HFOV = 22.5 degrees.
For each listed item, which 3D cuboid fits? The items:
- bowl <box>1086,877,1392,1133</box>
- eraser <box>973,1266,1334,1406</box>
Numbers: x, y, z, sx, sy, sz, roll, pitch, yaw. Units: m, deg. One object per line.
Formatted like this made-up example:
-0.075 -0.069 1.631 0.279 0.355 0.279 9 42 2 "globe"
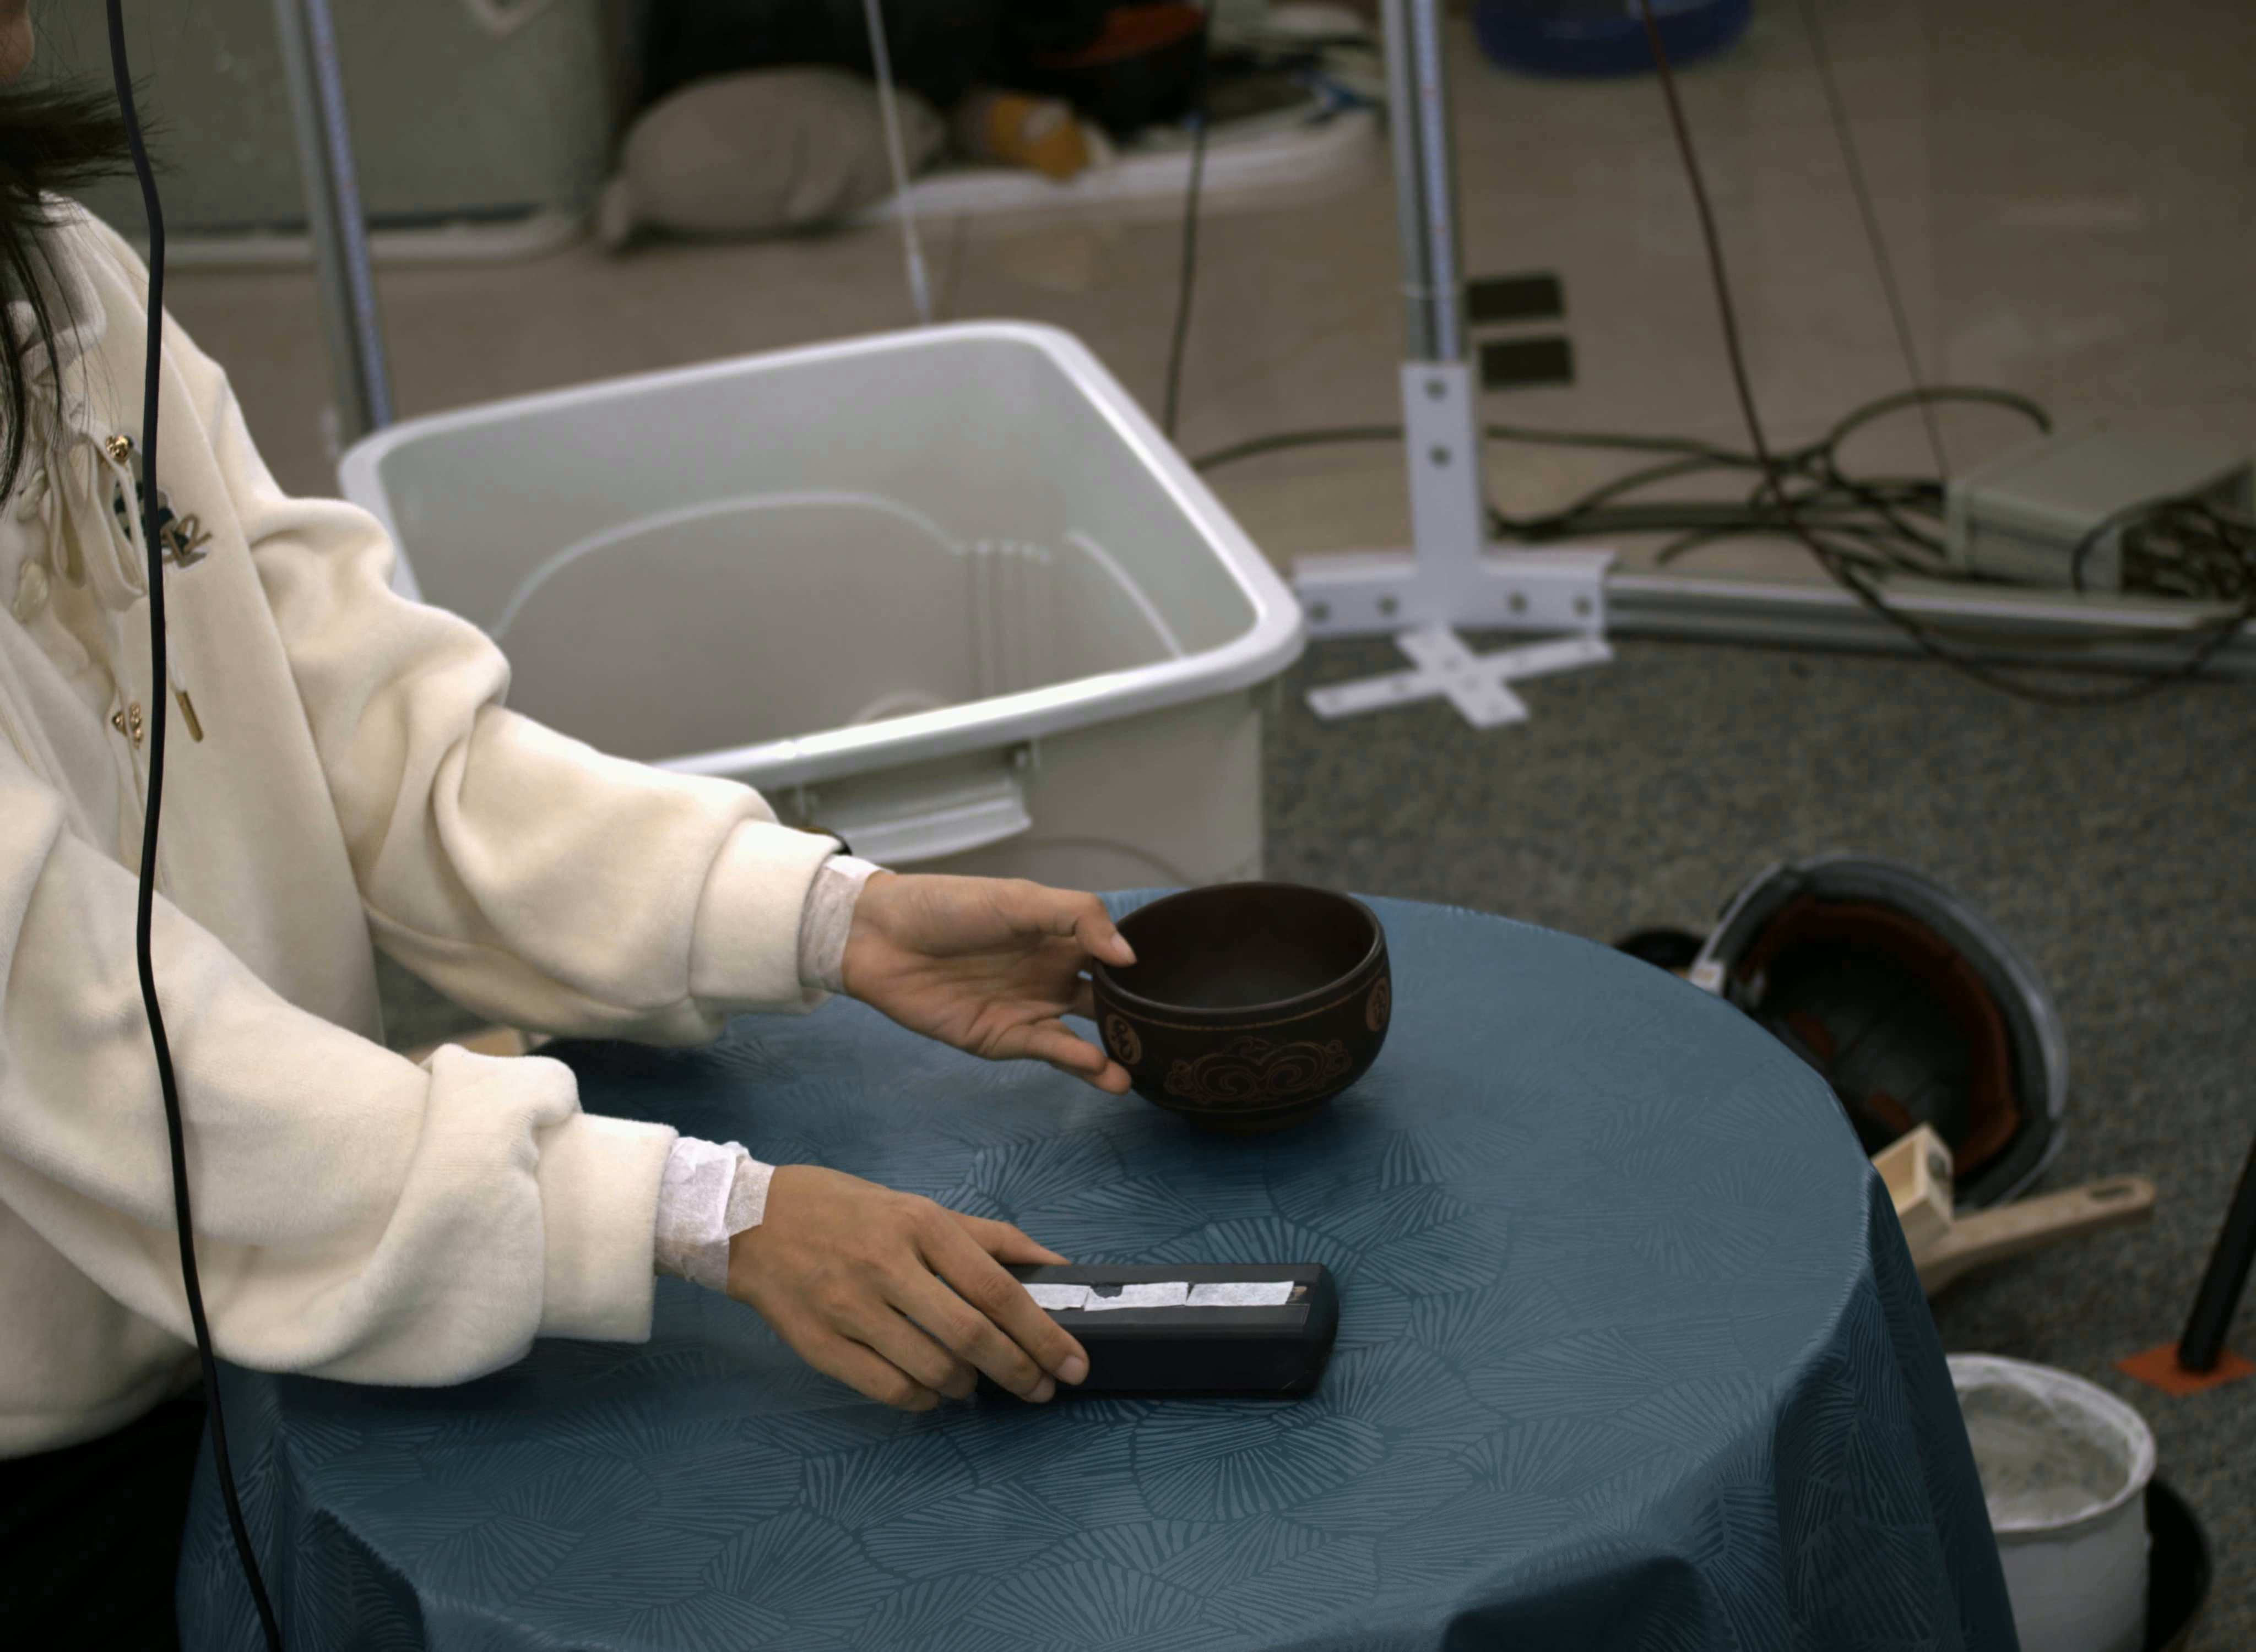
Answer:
0.045 0.075 2.188 0.118 0.071 0.116 -6 25 3 "bowl"
0.011 0.181 2.023 0.125 0.031 0.053 -3 24 12 "eraser"
